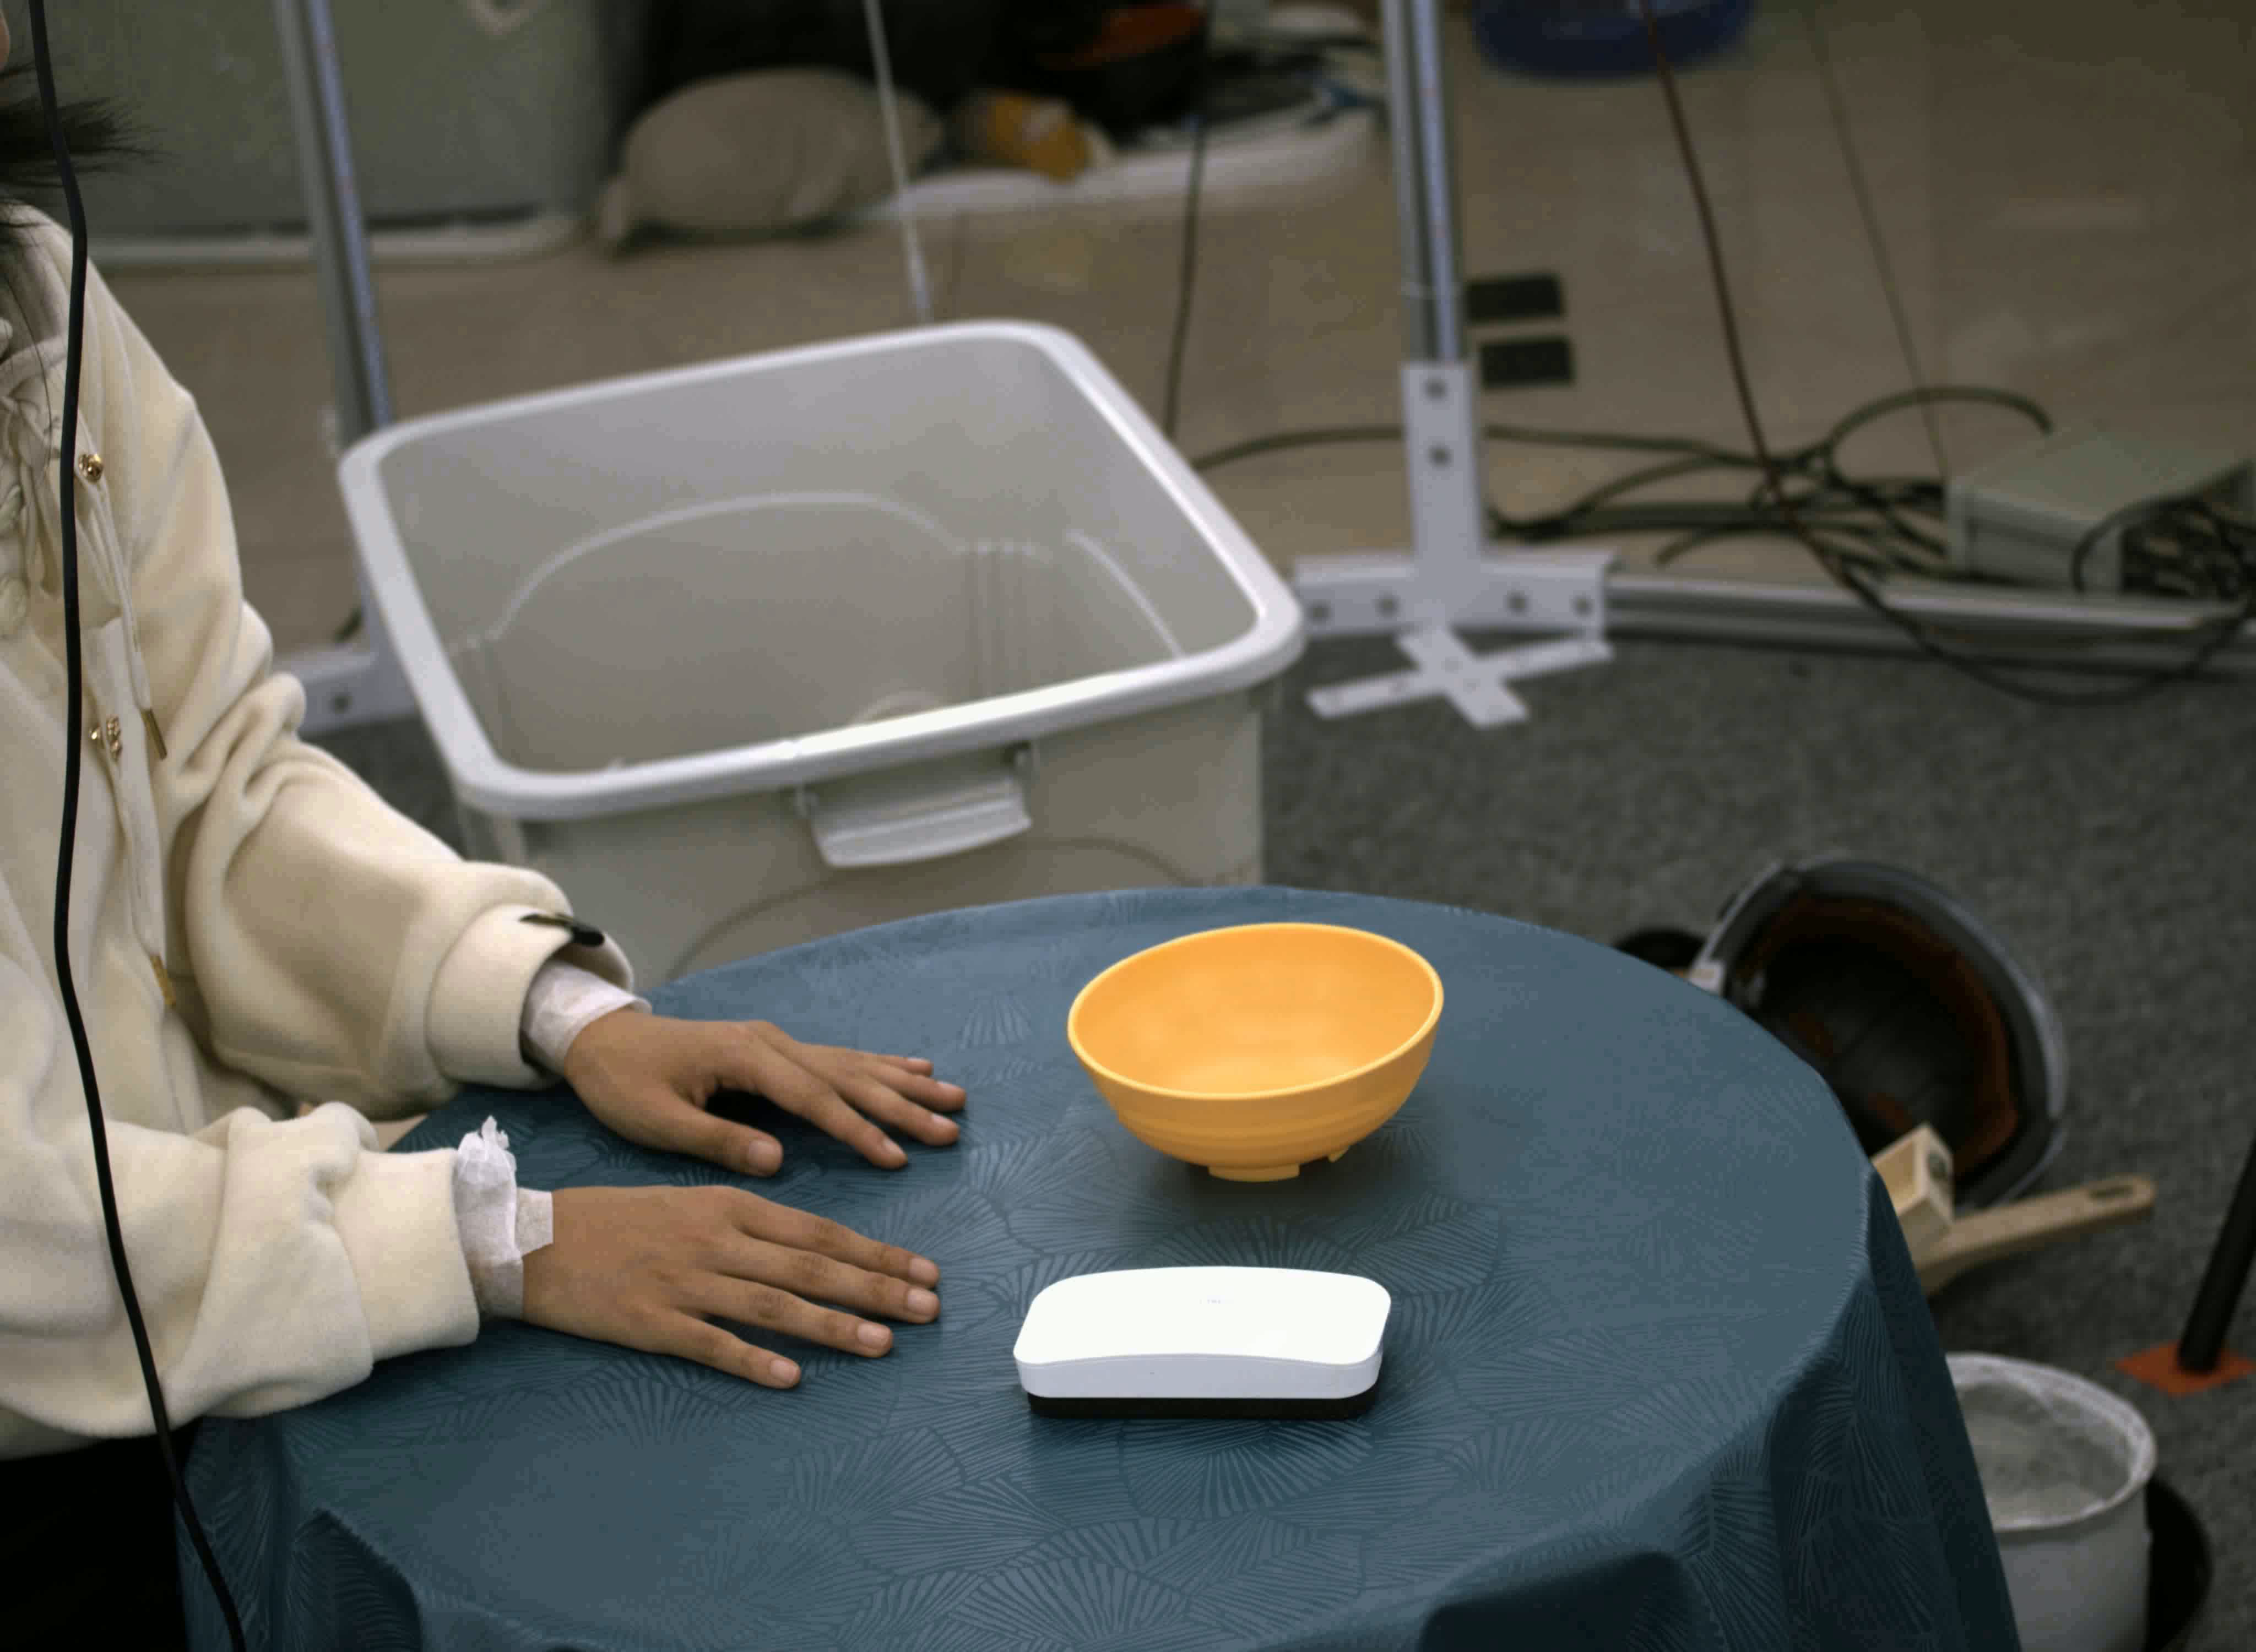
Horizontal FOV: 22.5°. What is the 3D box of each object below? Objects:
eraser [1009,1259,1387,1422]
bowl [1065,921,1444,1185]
[{"bbox_3d":[0.026,0.183,2.010,0.131,0.035,0.062,0,24,12],"label":"eraser"},{"bbox_3d":[0.050,0.095,2.162,0.145,0.061,0.143,-4,26,2],"label":"bowl"}]
